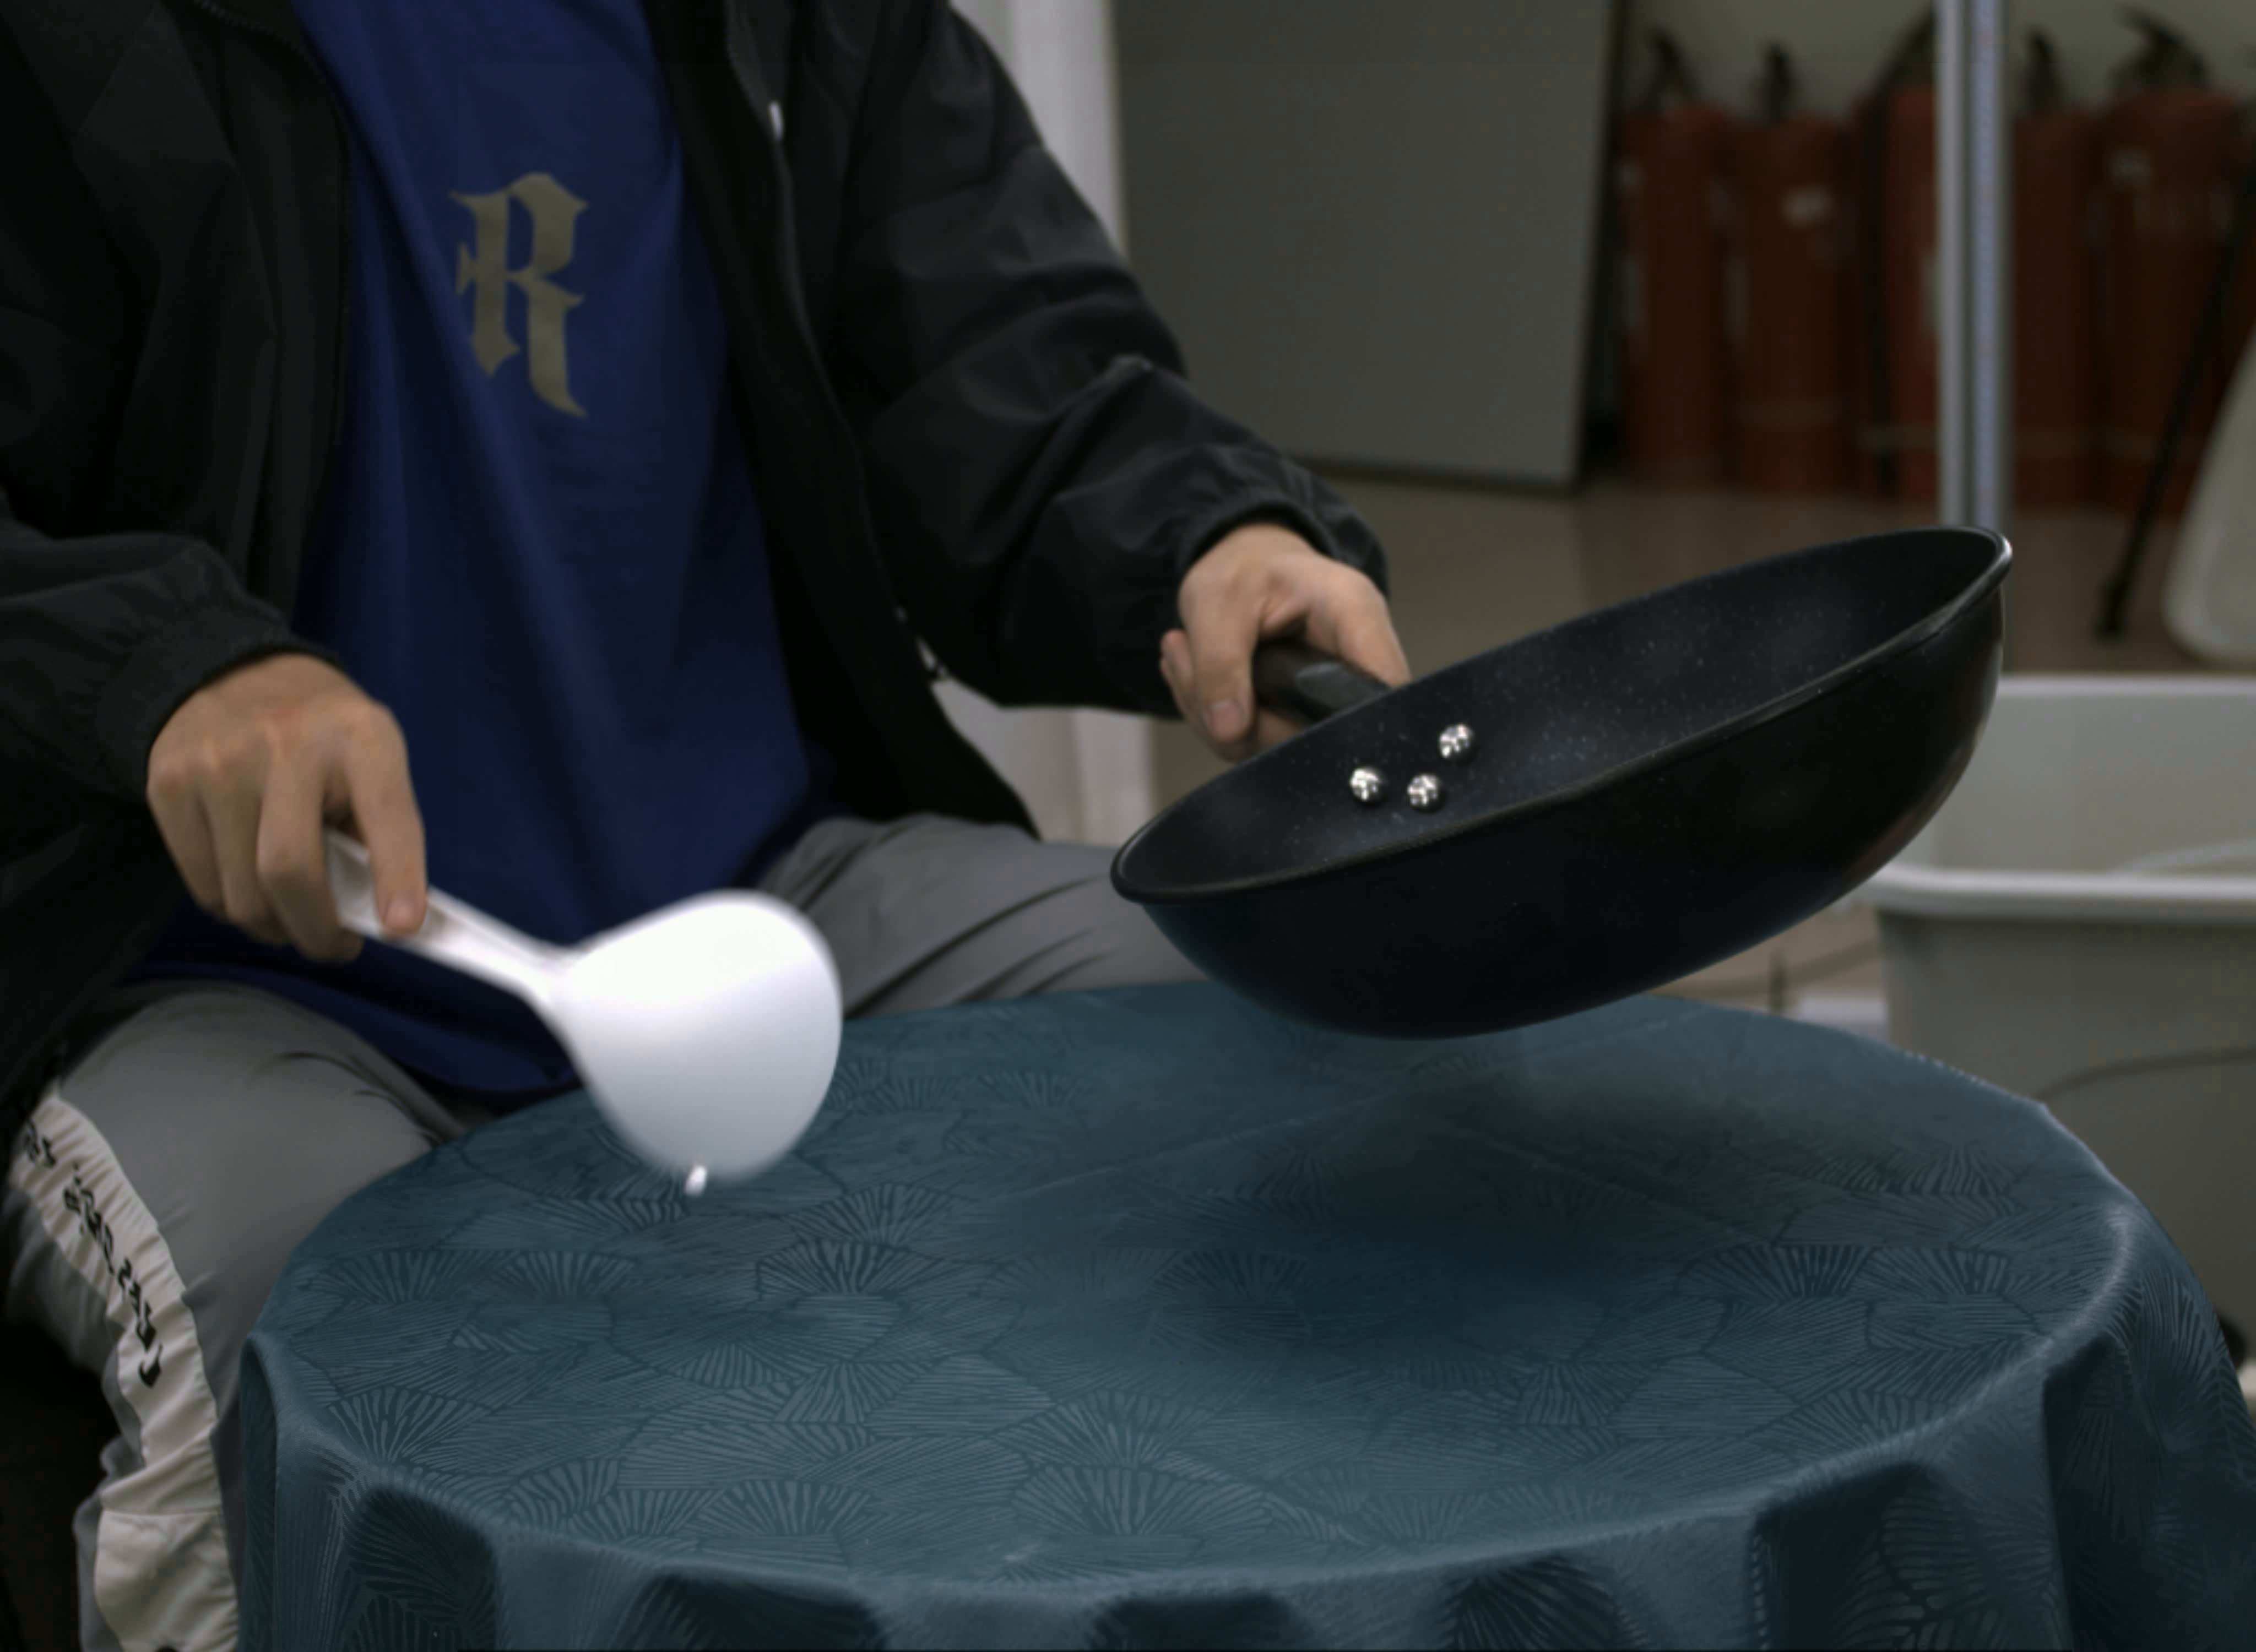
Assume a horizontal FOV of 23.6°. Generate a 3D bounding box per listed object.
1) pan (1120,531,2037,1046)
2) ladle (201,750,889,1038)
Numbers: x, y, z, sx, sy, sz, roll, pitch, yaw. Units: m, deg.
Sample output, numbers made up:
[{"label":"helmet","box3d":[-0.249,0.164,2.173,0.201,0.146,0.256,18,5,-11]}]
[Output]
[{"label":"pan","box3d":[0.122,-0.014,1.803,0.305,0.112,0.481,-23,9,-17]},{"label":"ladle","box3d":[-0.197,0.012,1.782,0.068,0.091,0.296,-1,6,-42]}]
